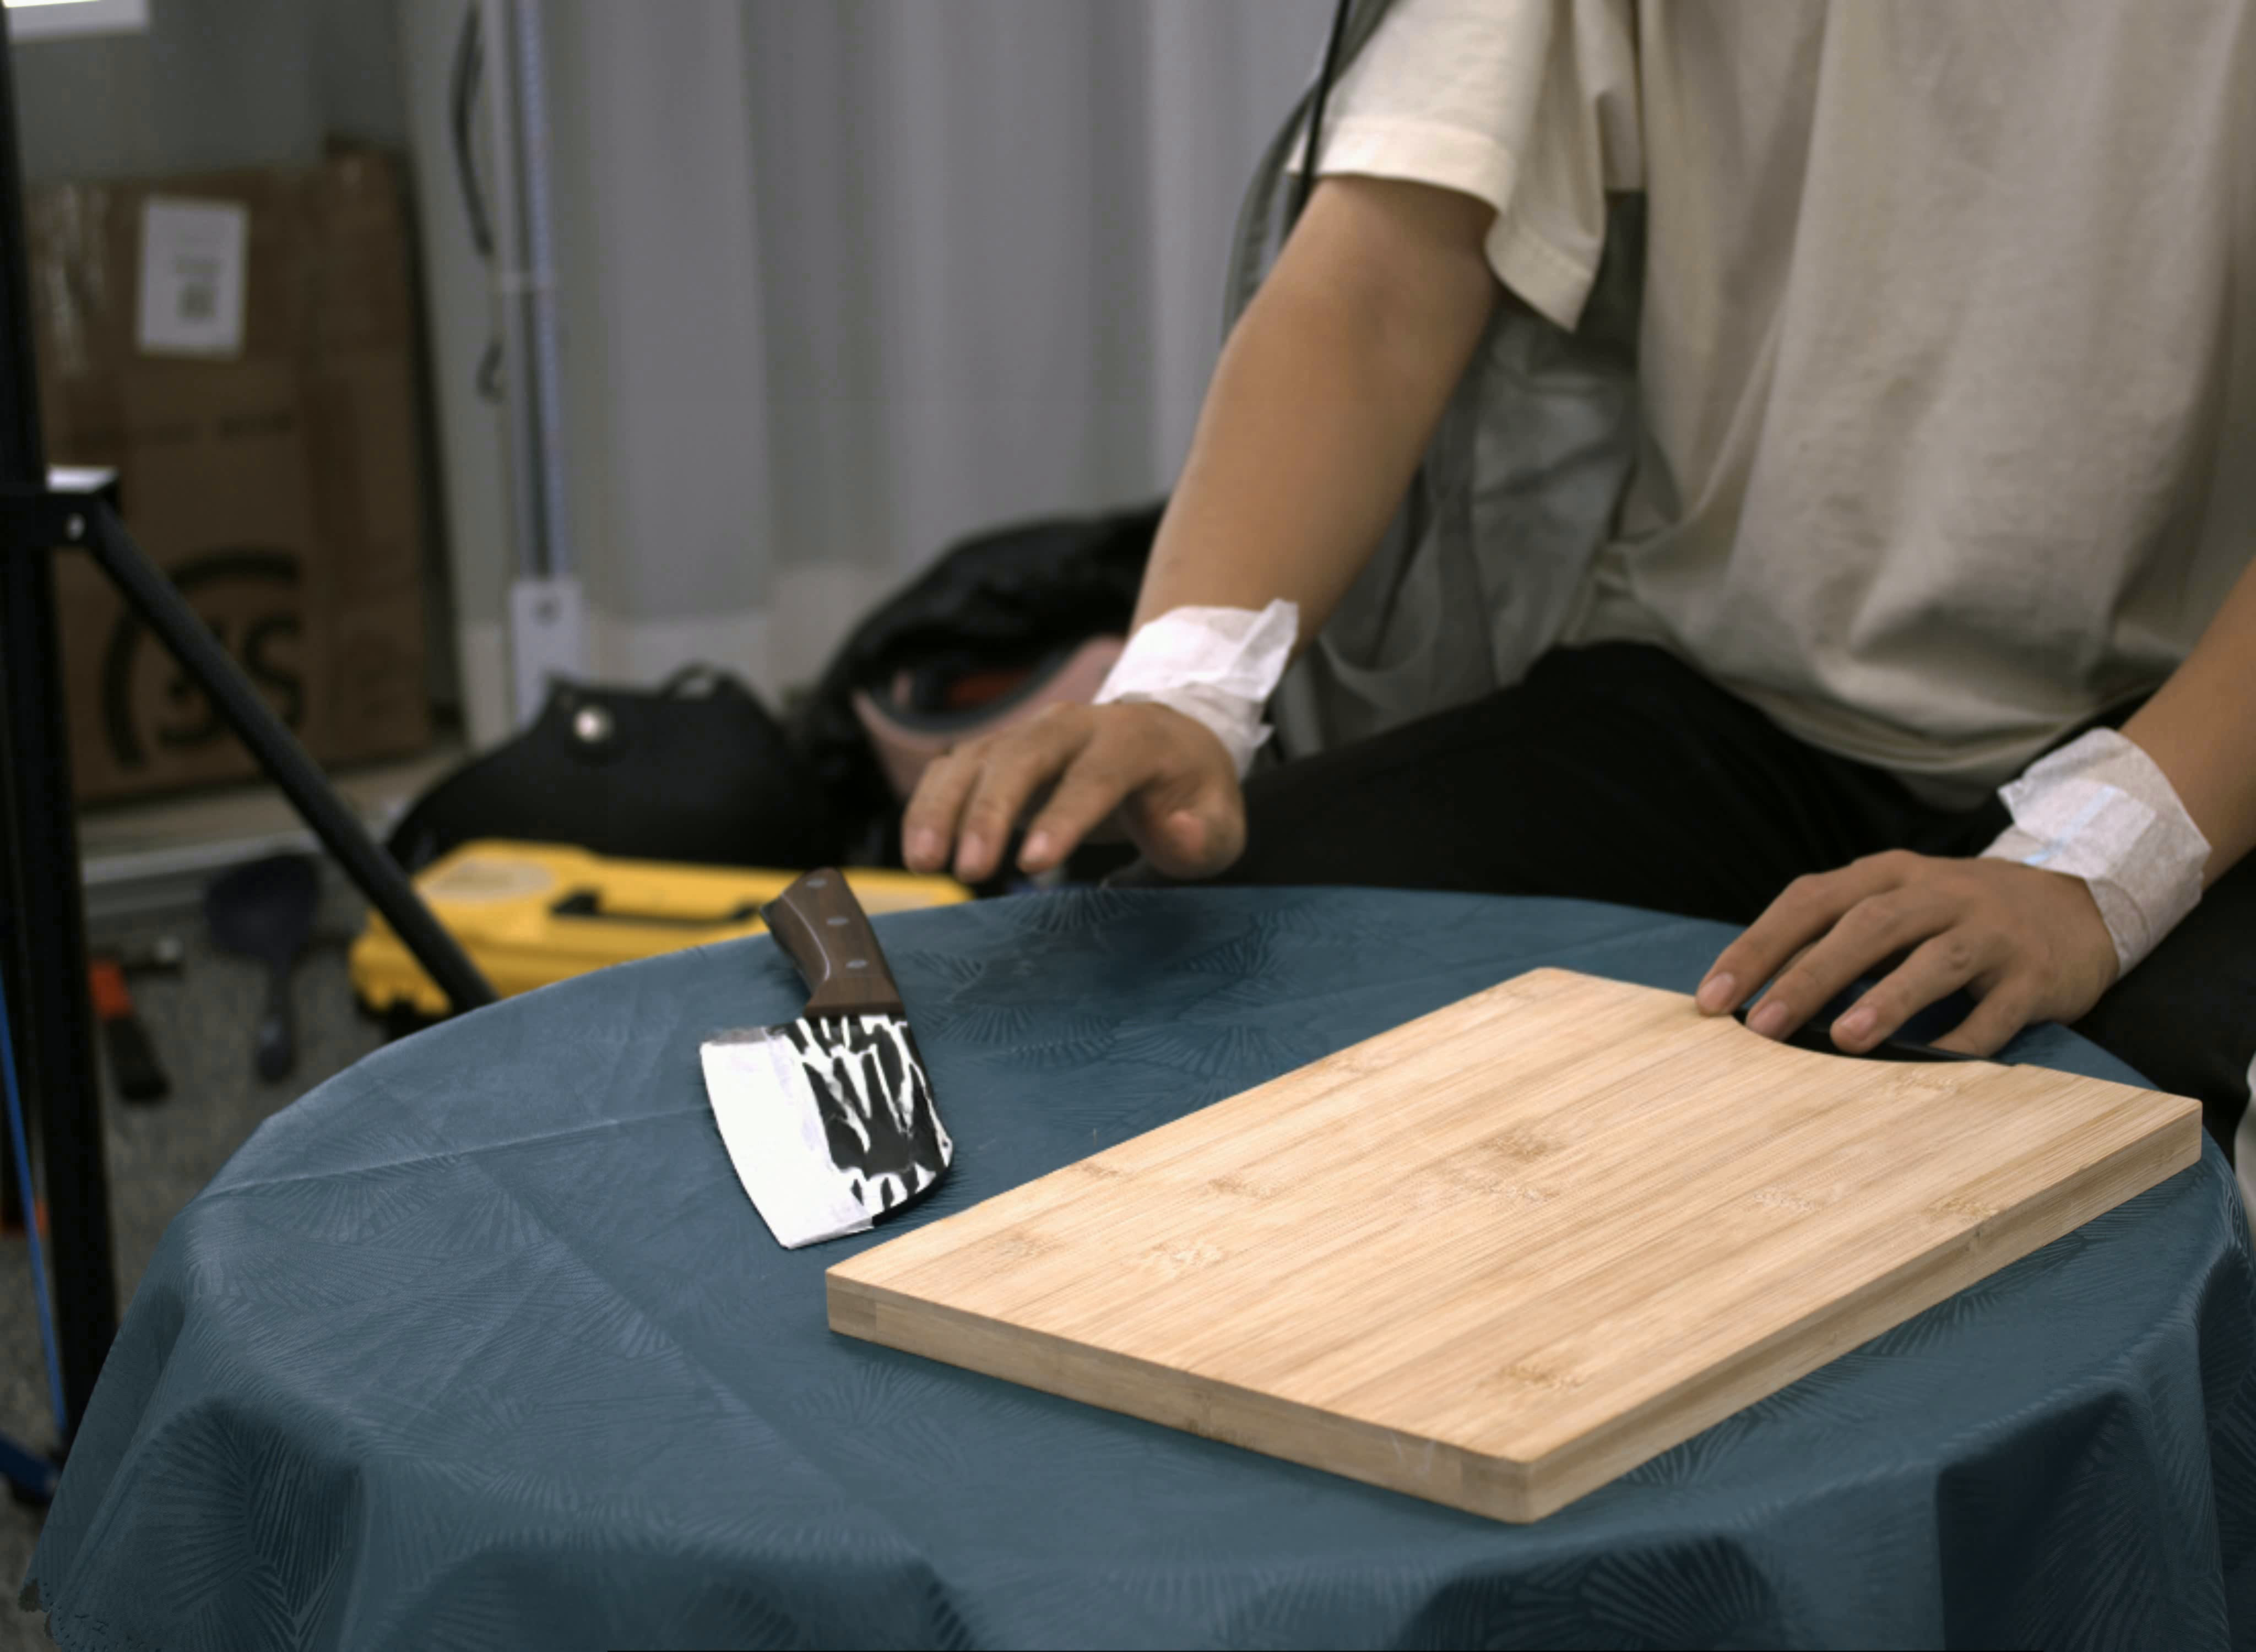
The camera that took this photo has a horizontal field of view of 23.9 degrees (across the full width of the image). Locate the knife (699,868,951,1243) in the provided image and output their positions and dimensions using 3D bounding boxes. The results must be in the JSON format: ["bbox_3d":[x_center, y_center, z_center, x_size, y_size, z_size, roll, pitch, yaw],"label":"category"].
[{"bbox_3d":[-0.099,0.071,1.668,0.067,0.024,0.303,-6,19,-7],"label":"knife"}]

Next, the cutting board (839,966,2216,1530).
[{"bbox_3d":[0.120,0.109,1.501,0.256,0.023,0.341,11,20,39],"label":"cutting board"}]
